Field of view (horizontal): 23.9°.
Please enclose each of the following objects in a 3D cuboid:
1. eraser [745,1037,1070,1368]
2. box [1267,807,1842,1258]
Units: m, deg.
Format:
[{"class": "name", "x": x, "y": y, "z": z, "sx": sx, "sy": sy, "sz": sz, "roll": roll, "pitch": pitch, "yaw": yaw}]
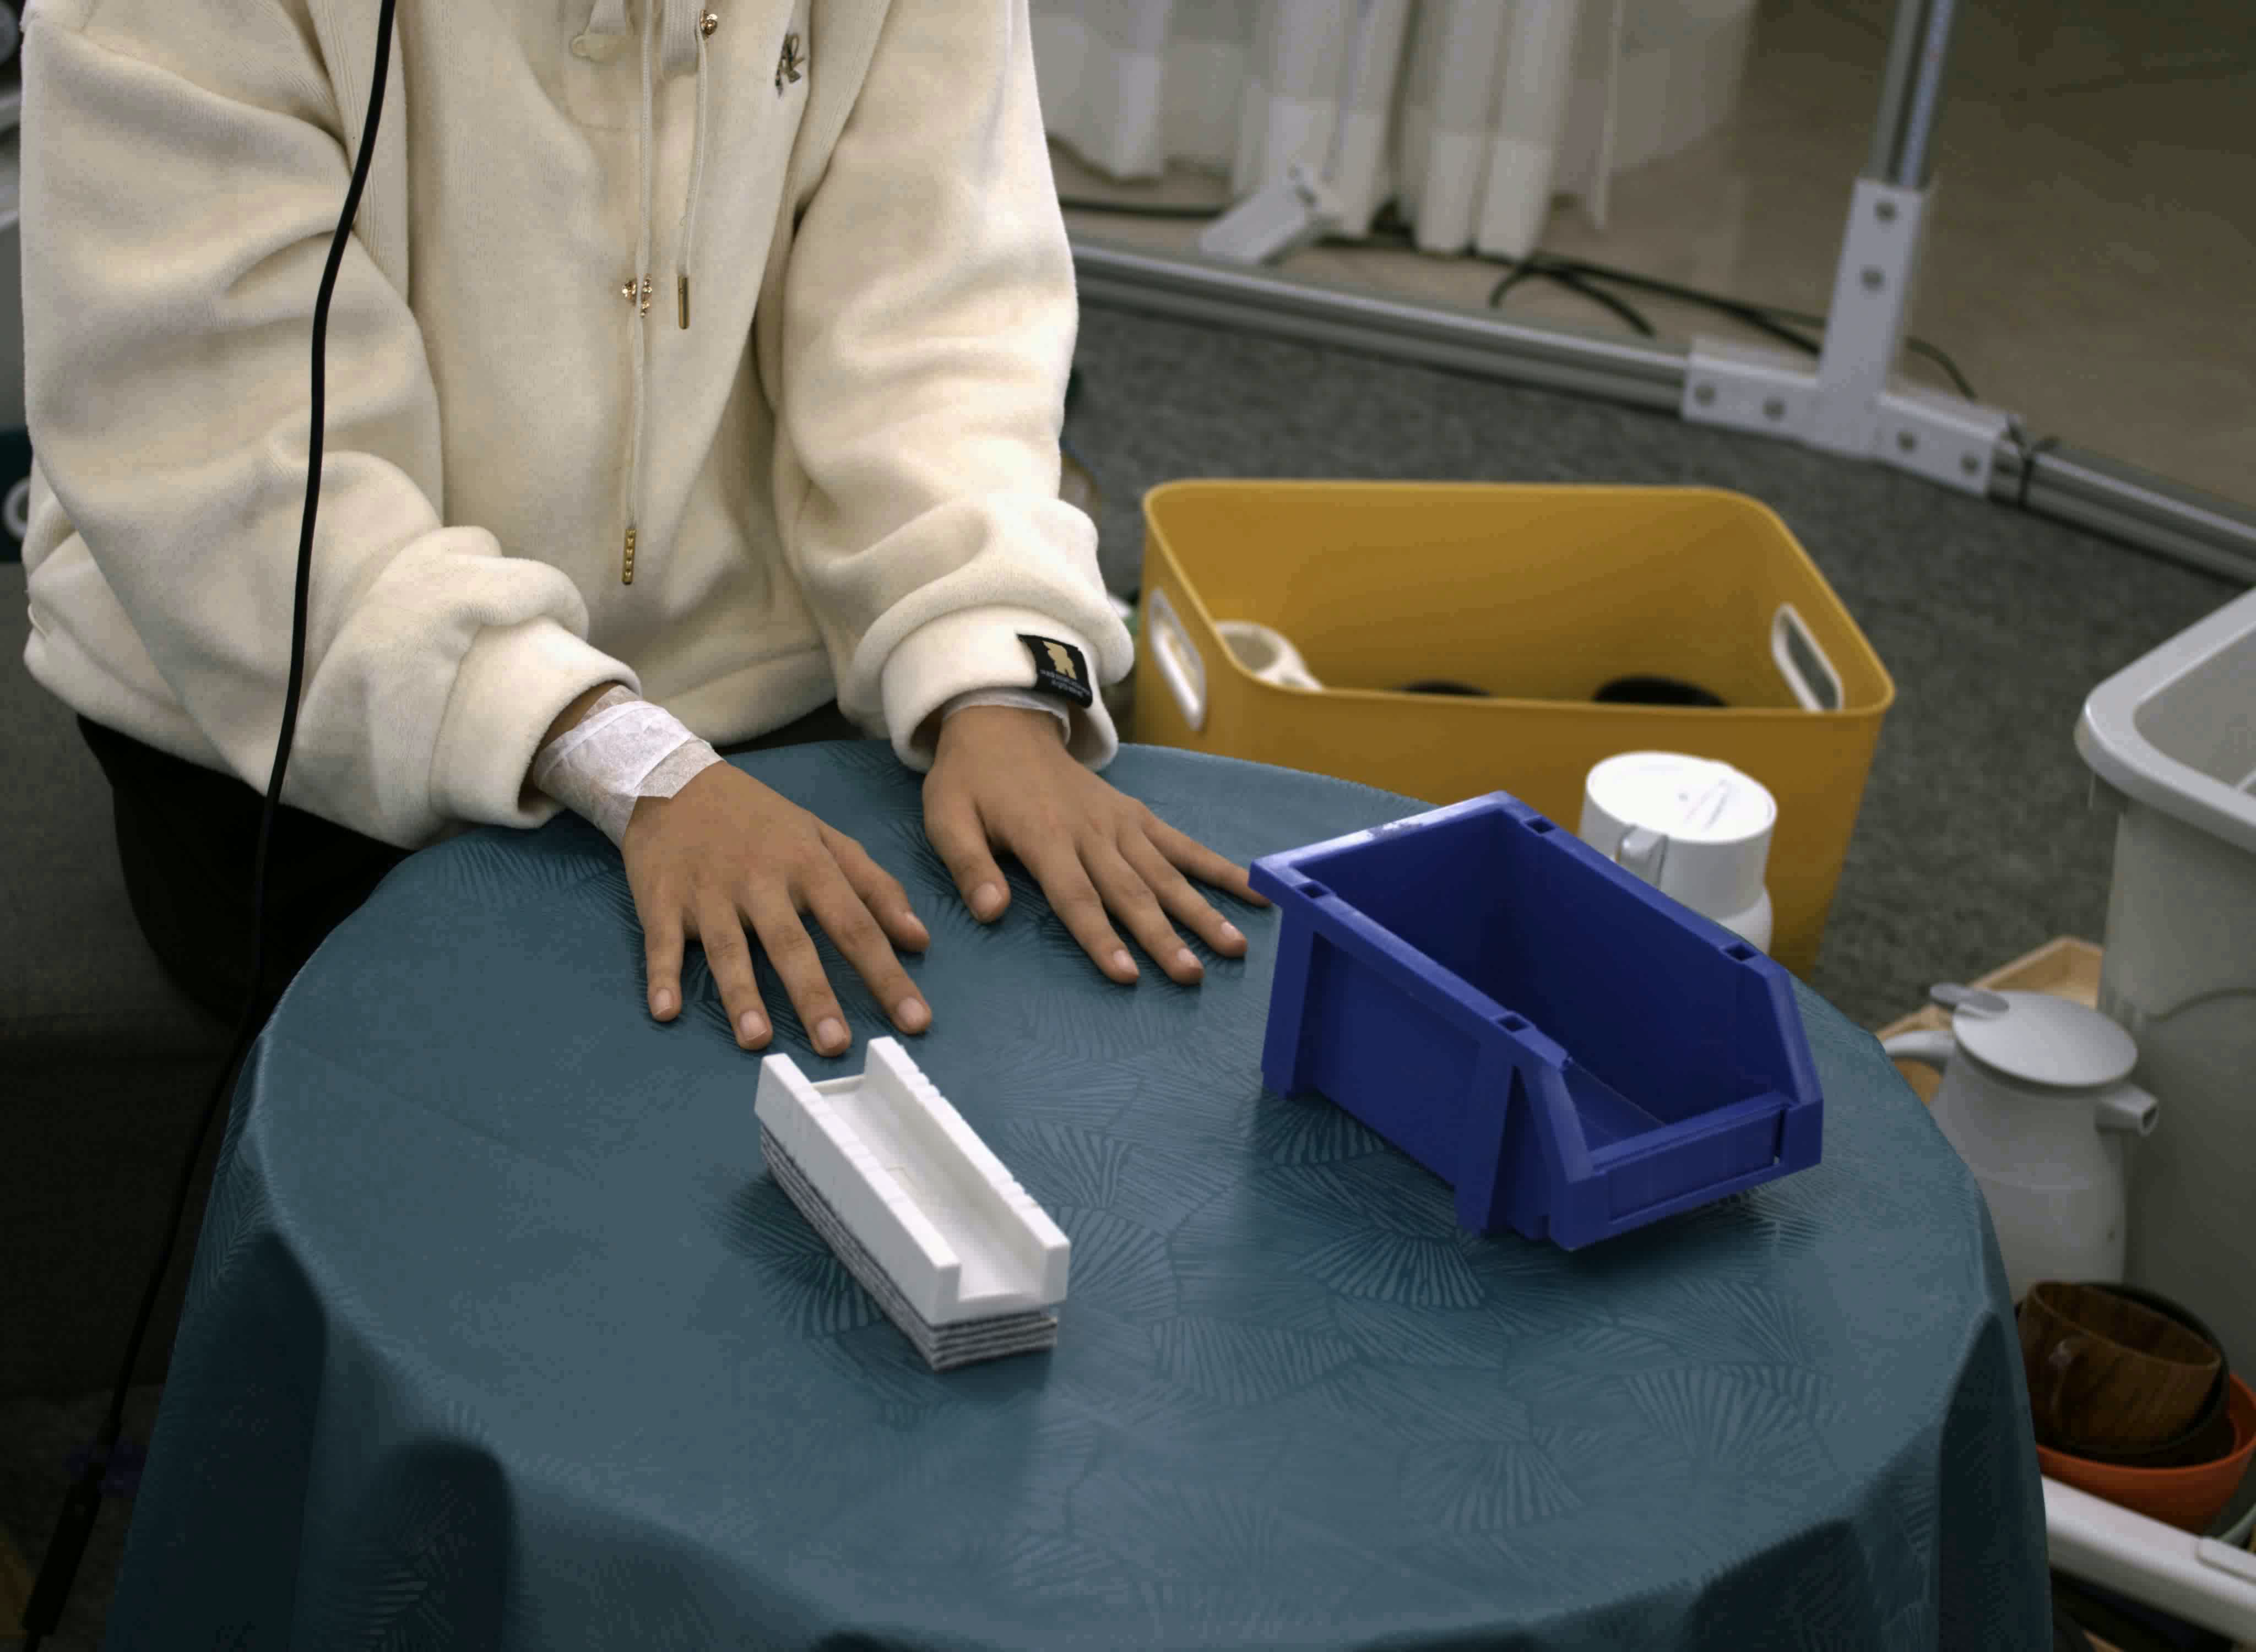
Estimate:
[{"class": "eraser", "x": -0.074, "y": 0.122, "z": 1.737, "sx": 0.049, "sy": 0.046, "sz": 0.135, "roll": -11, "pitch": 34, "yaw": -28}, {"class": "box", "x": 0.147, "y": 0.075, "z": 1.840, "sx": 0.124, "sy": 0.081, "sz": 0.181, "roll": -13, "pitch": 31, "yaw": -34}]
